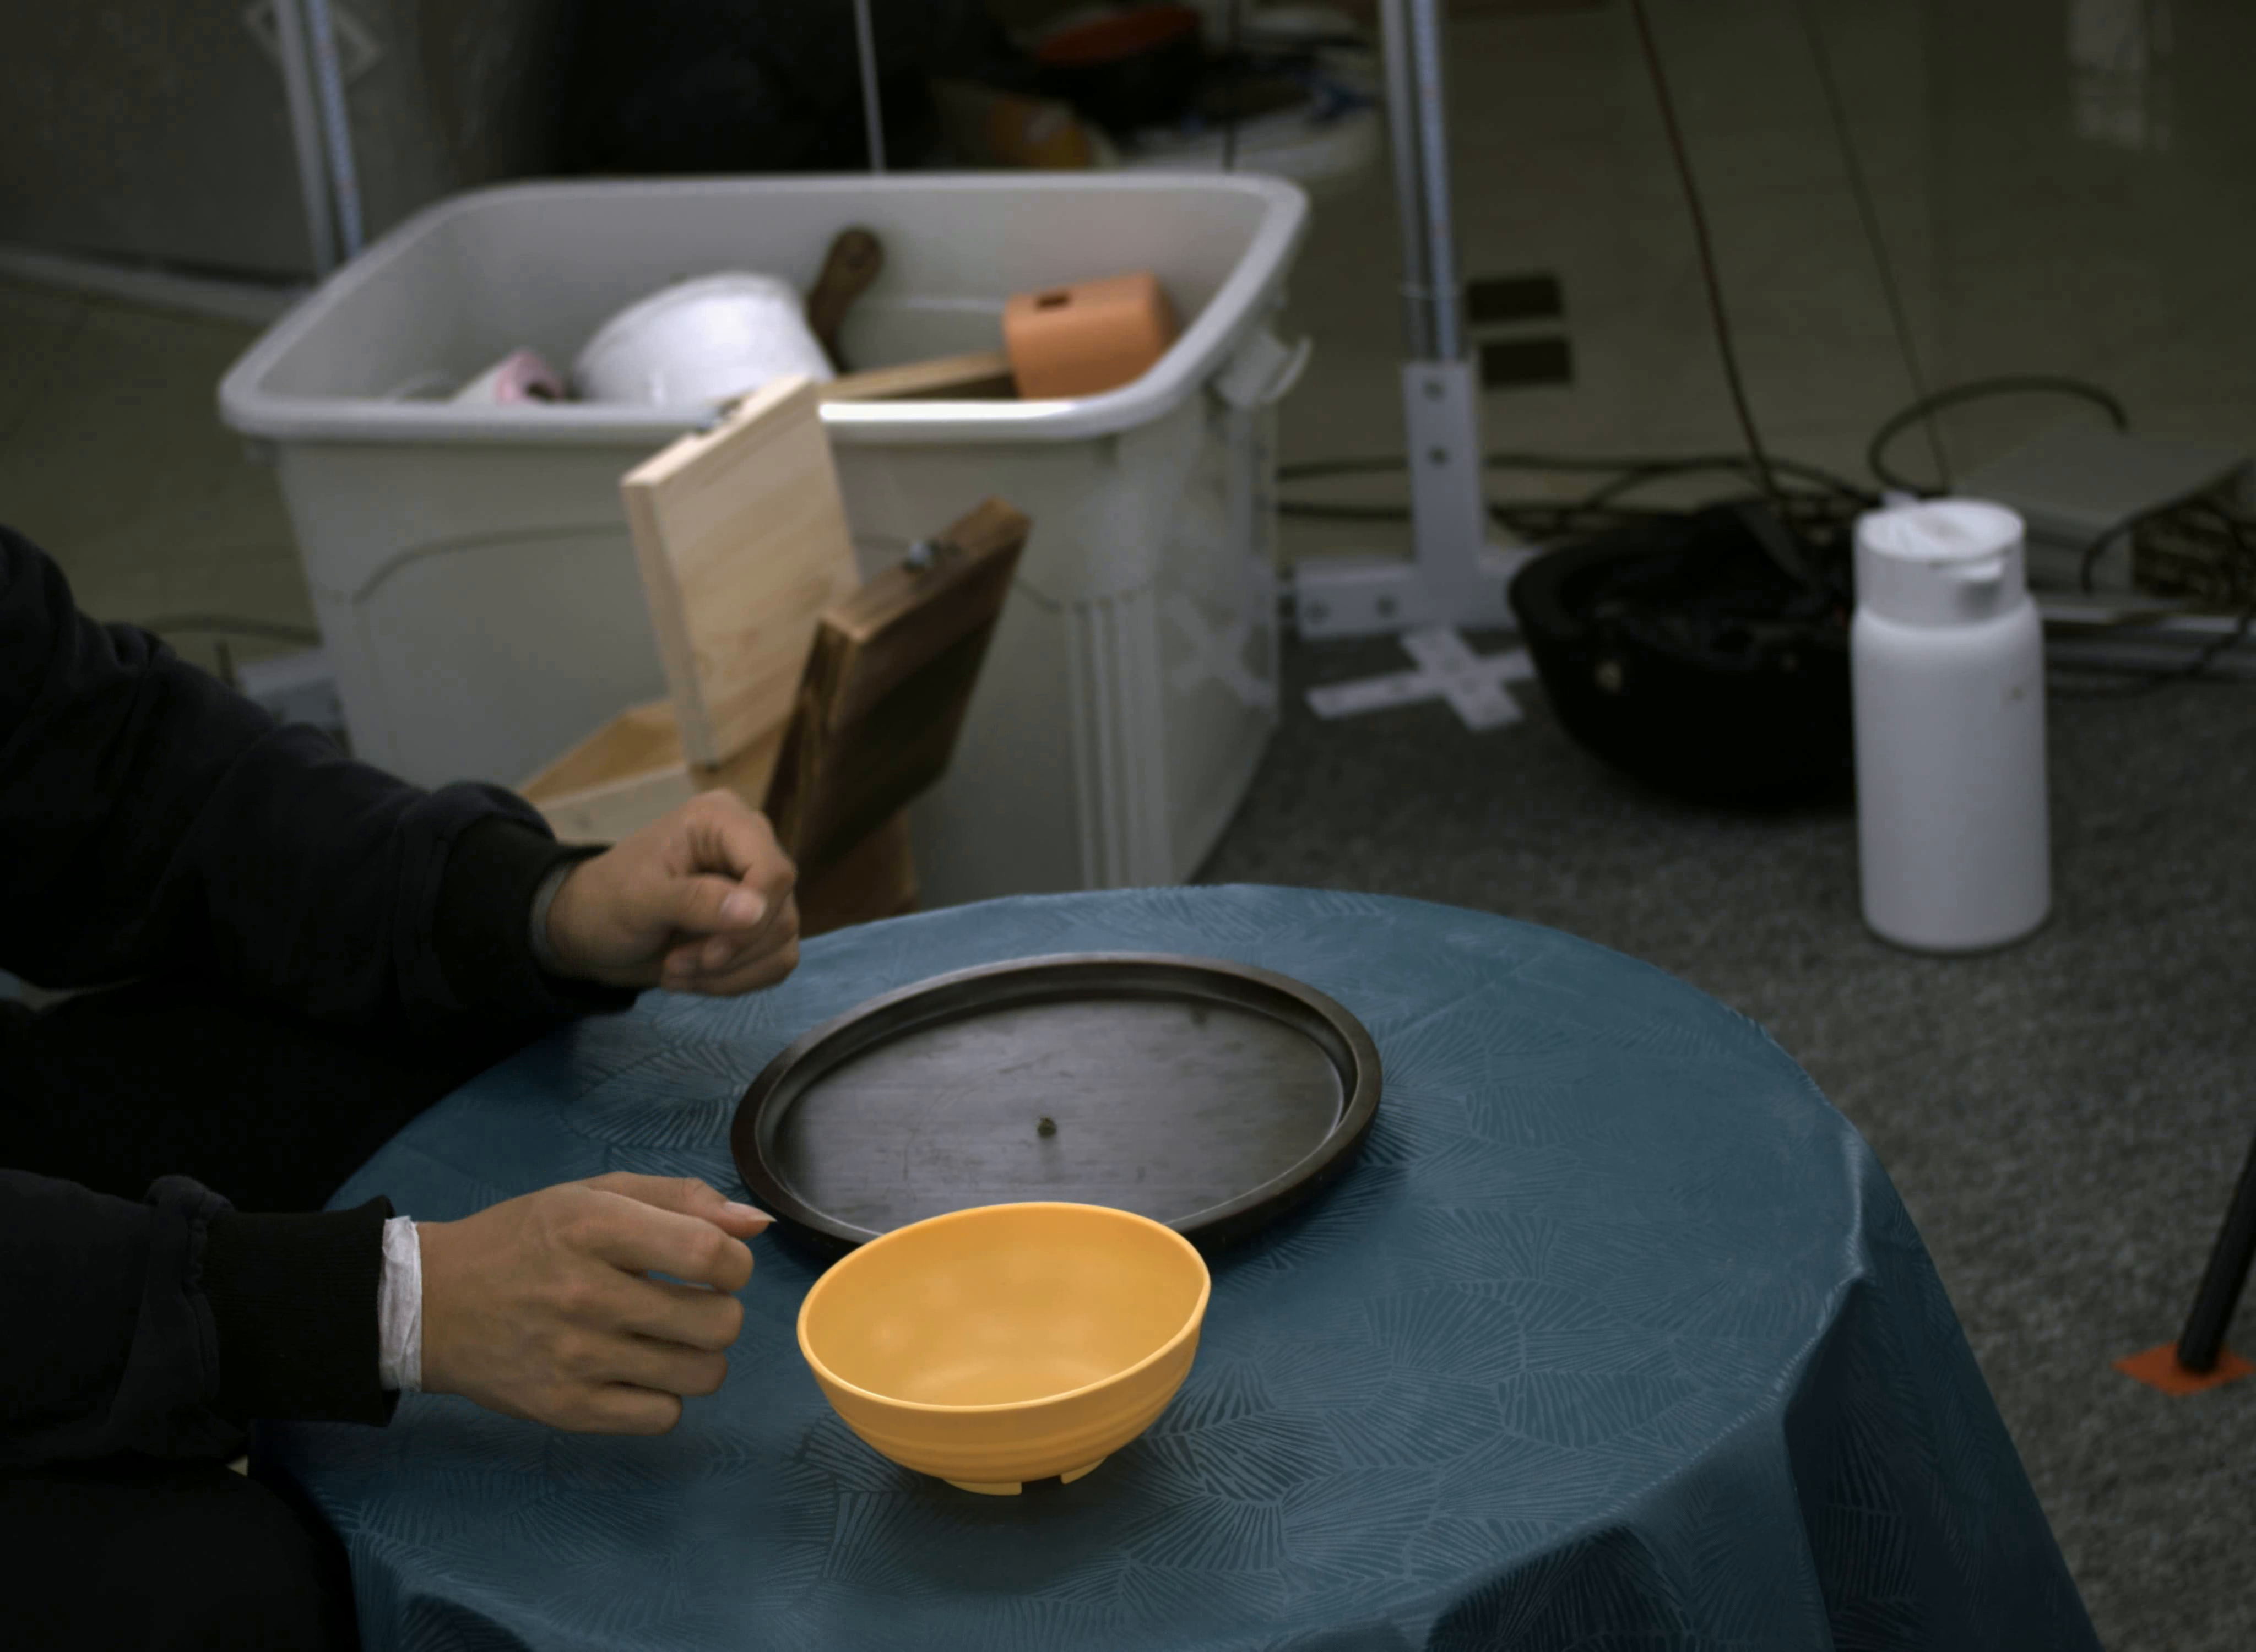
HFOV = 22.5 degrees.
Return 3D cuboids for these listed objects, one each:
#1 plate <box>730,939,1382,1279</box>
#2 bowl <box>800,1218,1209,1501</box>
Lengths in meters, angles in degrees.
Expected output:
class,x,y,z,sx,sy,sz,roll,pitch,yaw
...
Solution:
class,x,y,z,sx,sy,sz,roll,pitch,yaw
plate,-0.027,0.114,2.187,0.254,0.029,0.251,-6,26,3
bowl,-0.039,0.194,1.979,0.145,0.061,0.143,-7,23,3
